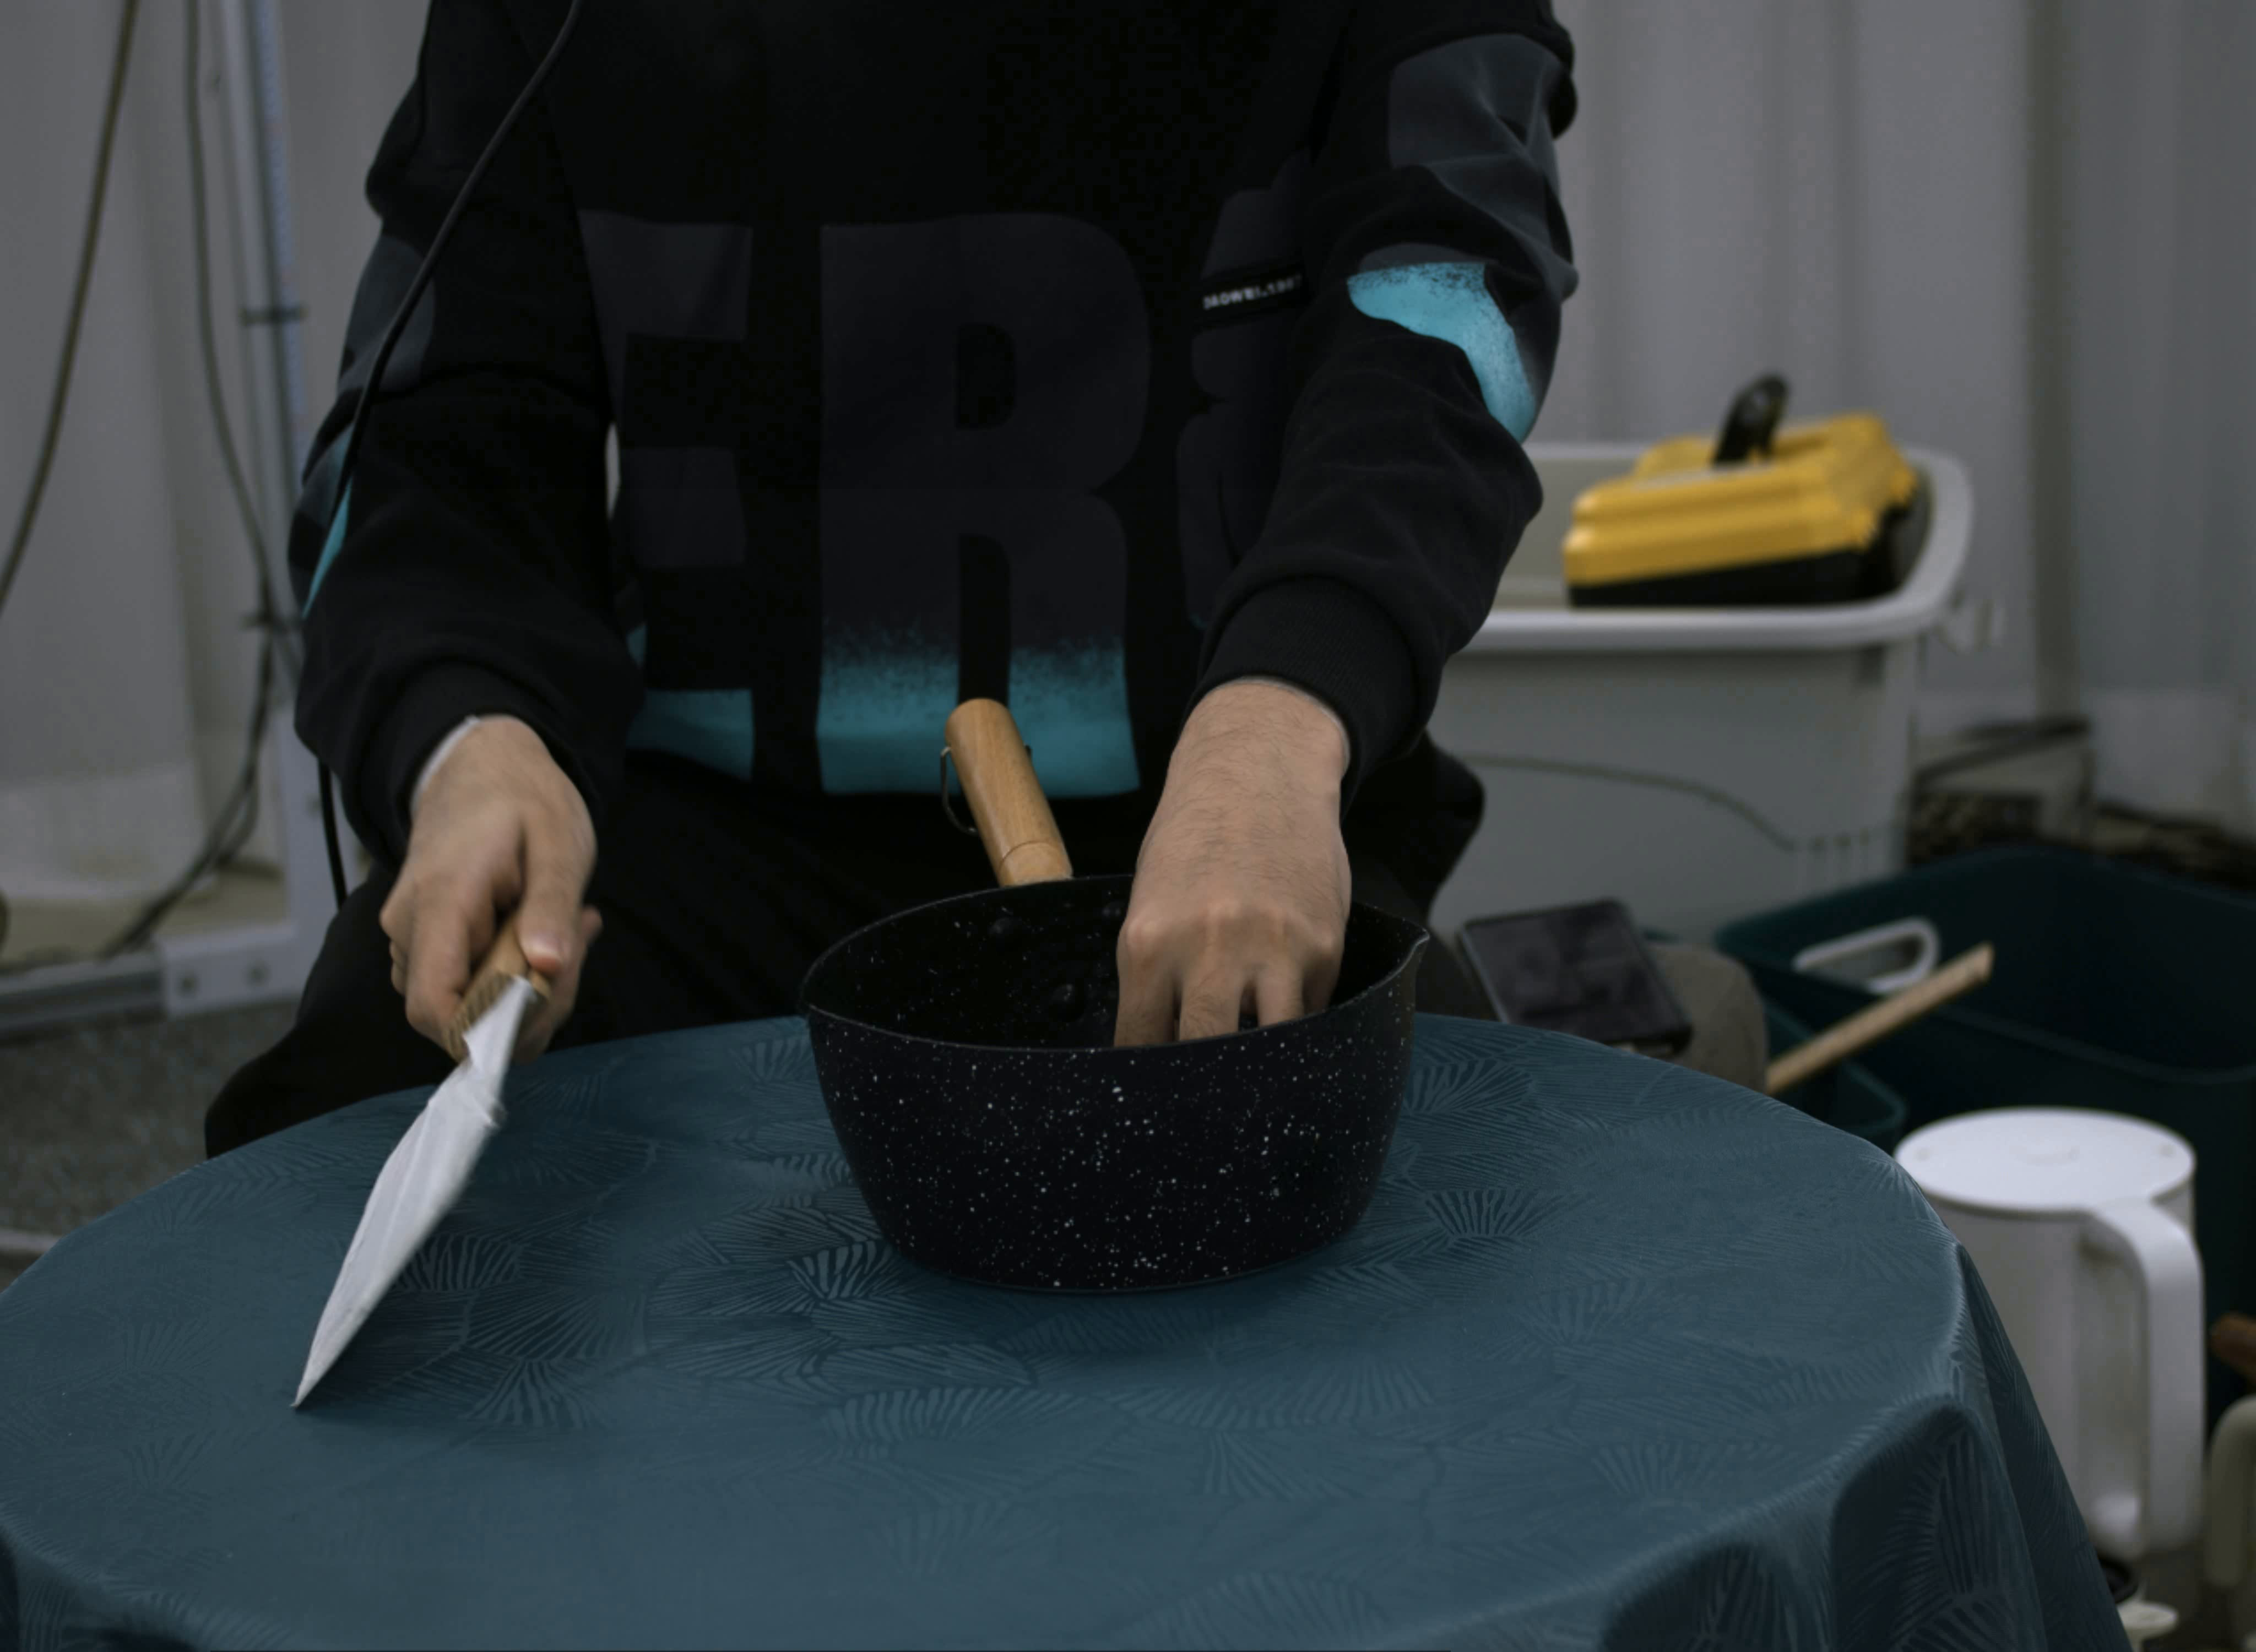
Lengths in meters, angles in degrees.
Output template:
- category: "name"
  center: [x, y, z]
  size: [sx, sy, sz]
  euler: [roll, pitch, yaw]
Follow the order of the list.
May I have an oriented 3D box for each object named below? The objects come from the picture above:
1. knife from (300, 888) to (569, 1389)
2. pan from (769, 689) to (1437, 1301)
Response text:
- category: "knife"
  center: [-0.206, 0.084, 1.702]
  size: [0.021, 0.113, 0.318]
  euler: [38, 16, -11]
- category: "pan"
  center: [-0.021, 0.049, 1.754]
  size: [0.206, 0.108, 0.346]
  euler: [-7, 17, -11]
